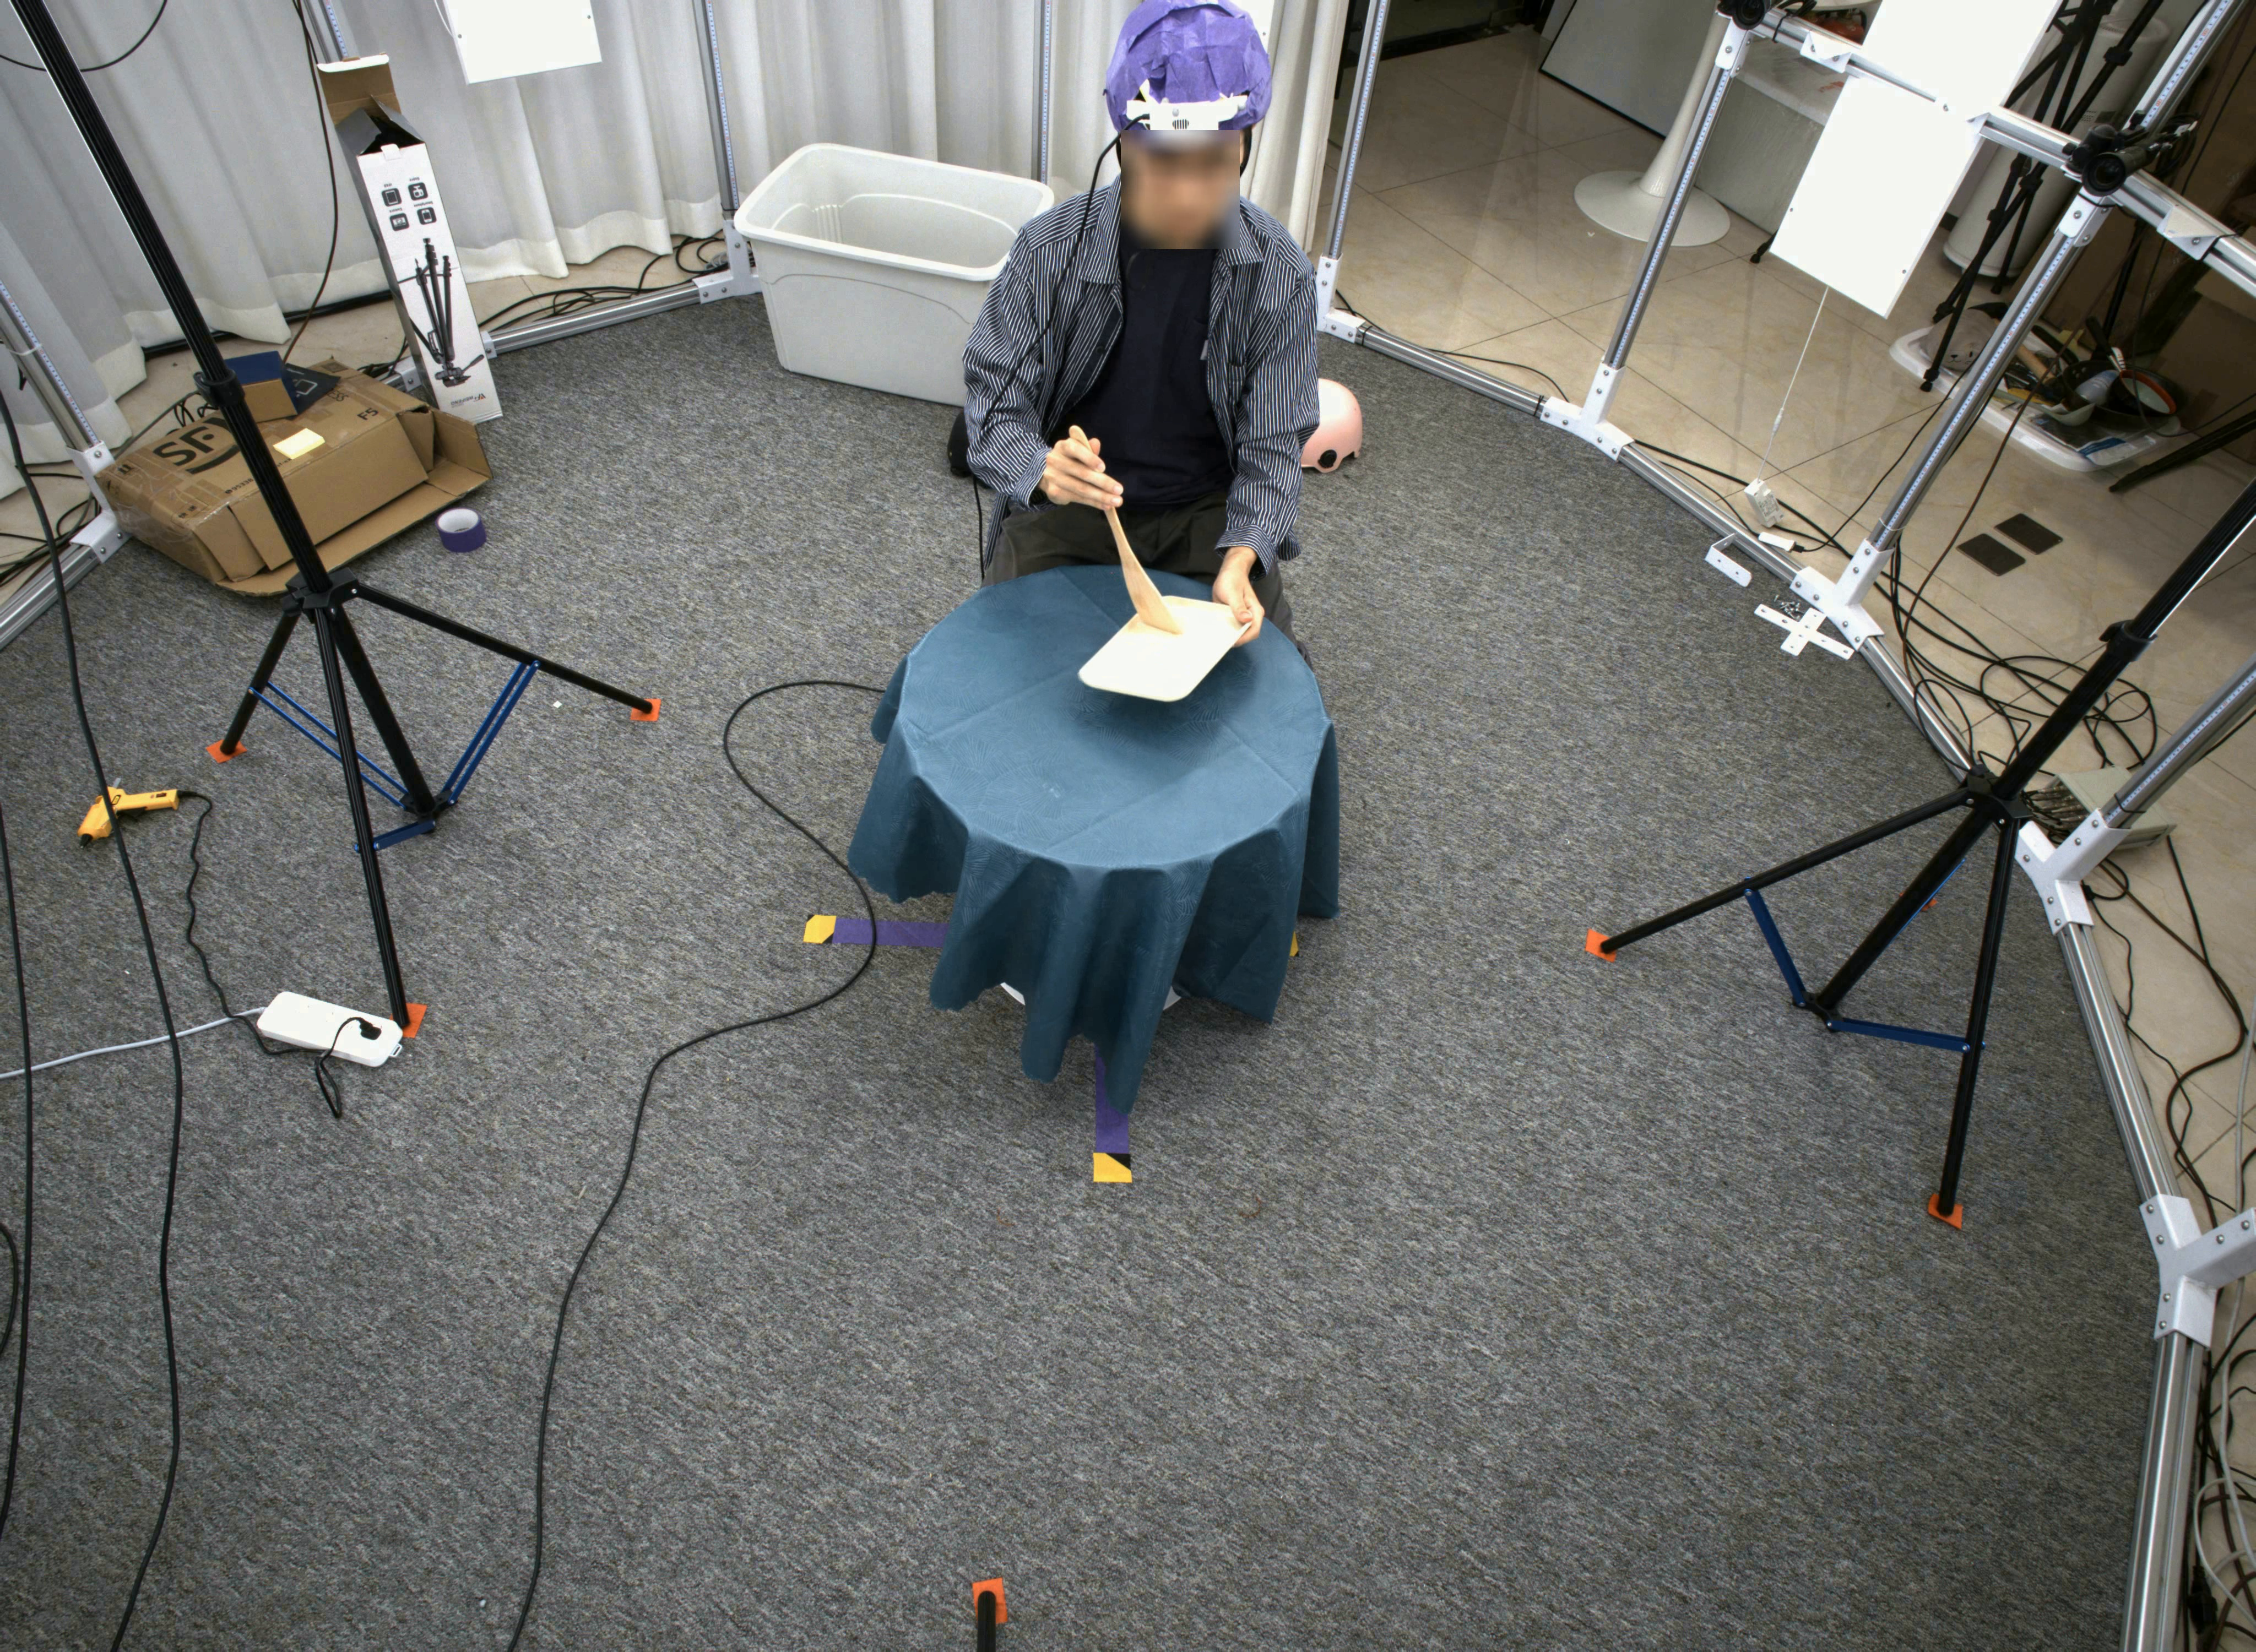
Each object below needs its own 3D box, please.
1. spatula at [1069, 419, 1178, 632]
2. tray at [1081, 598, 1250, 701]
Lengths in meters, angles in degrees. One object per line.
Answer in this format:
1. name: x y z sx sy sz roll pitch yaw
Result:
1. spatula: -0.012 -0.404 1.761 0.017 0.320 0.081 -41 35 -26
2. tray: 0.055 -0.247 1.788 0.172 0.017 0.243 13 42 28
